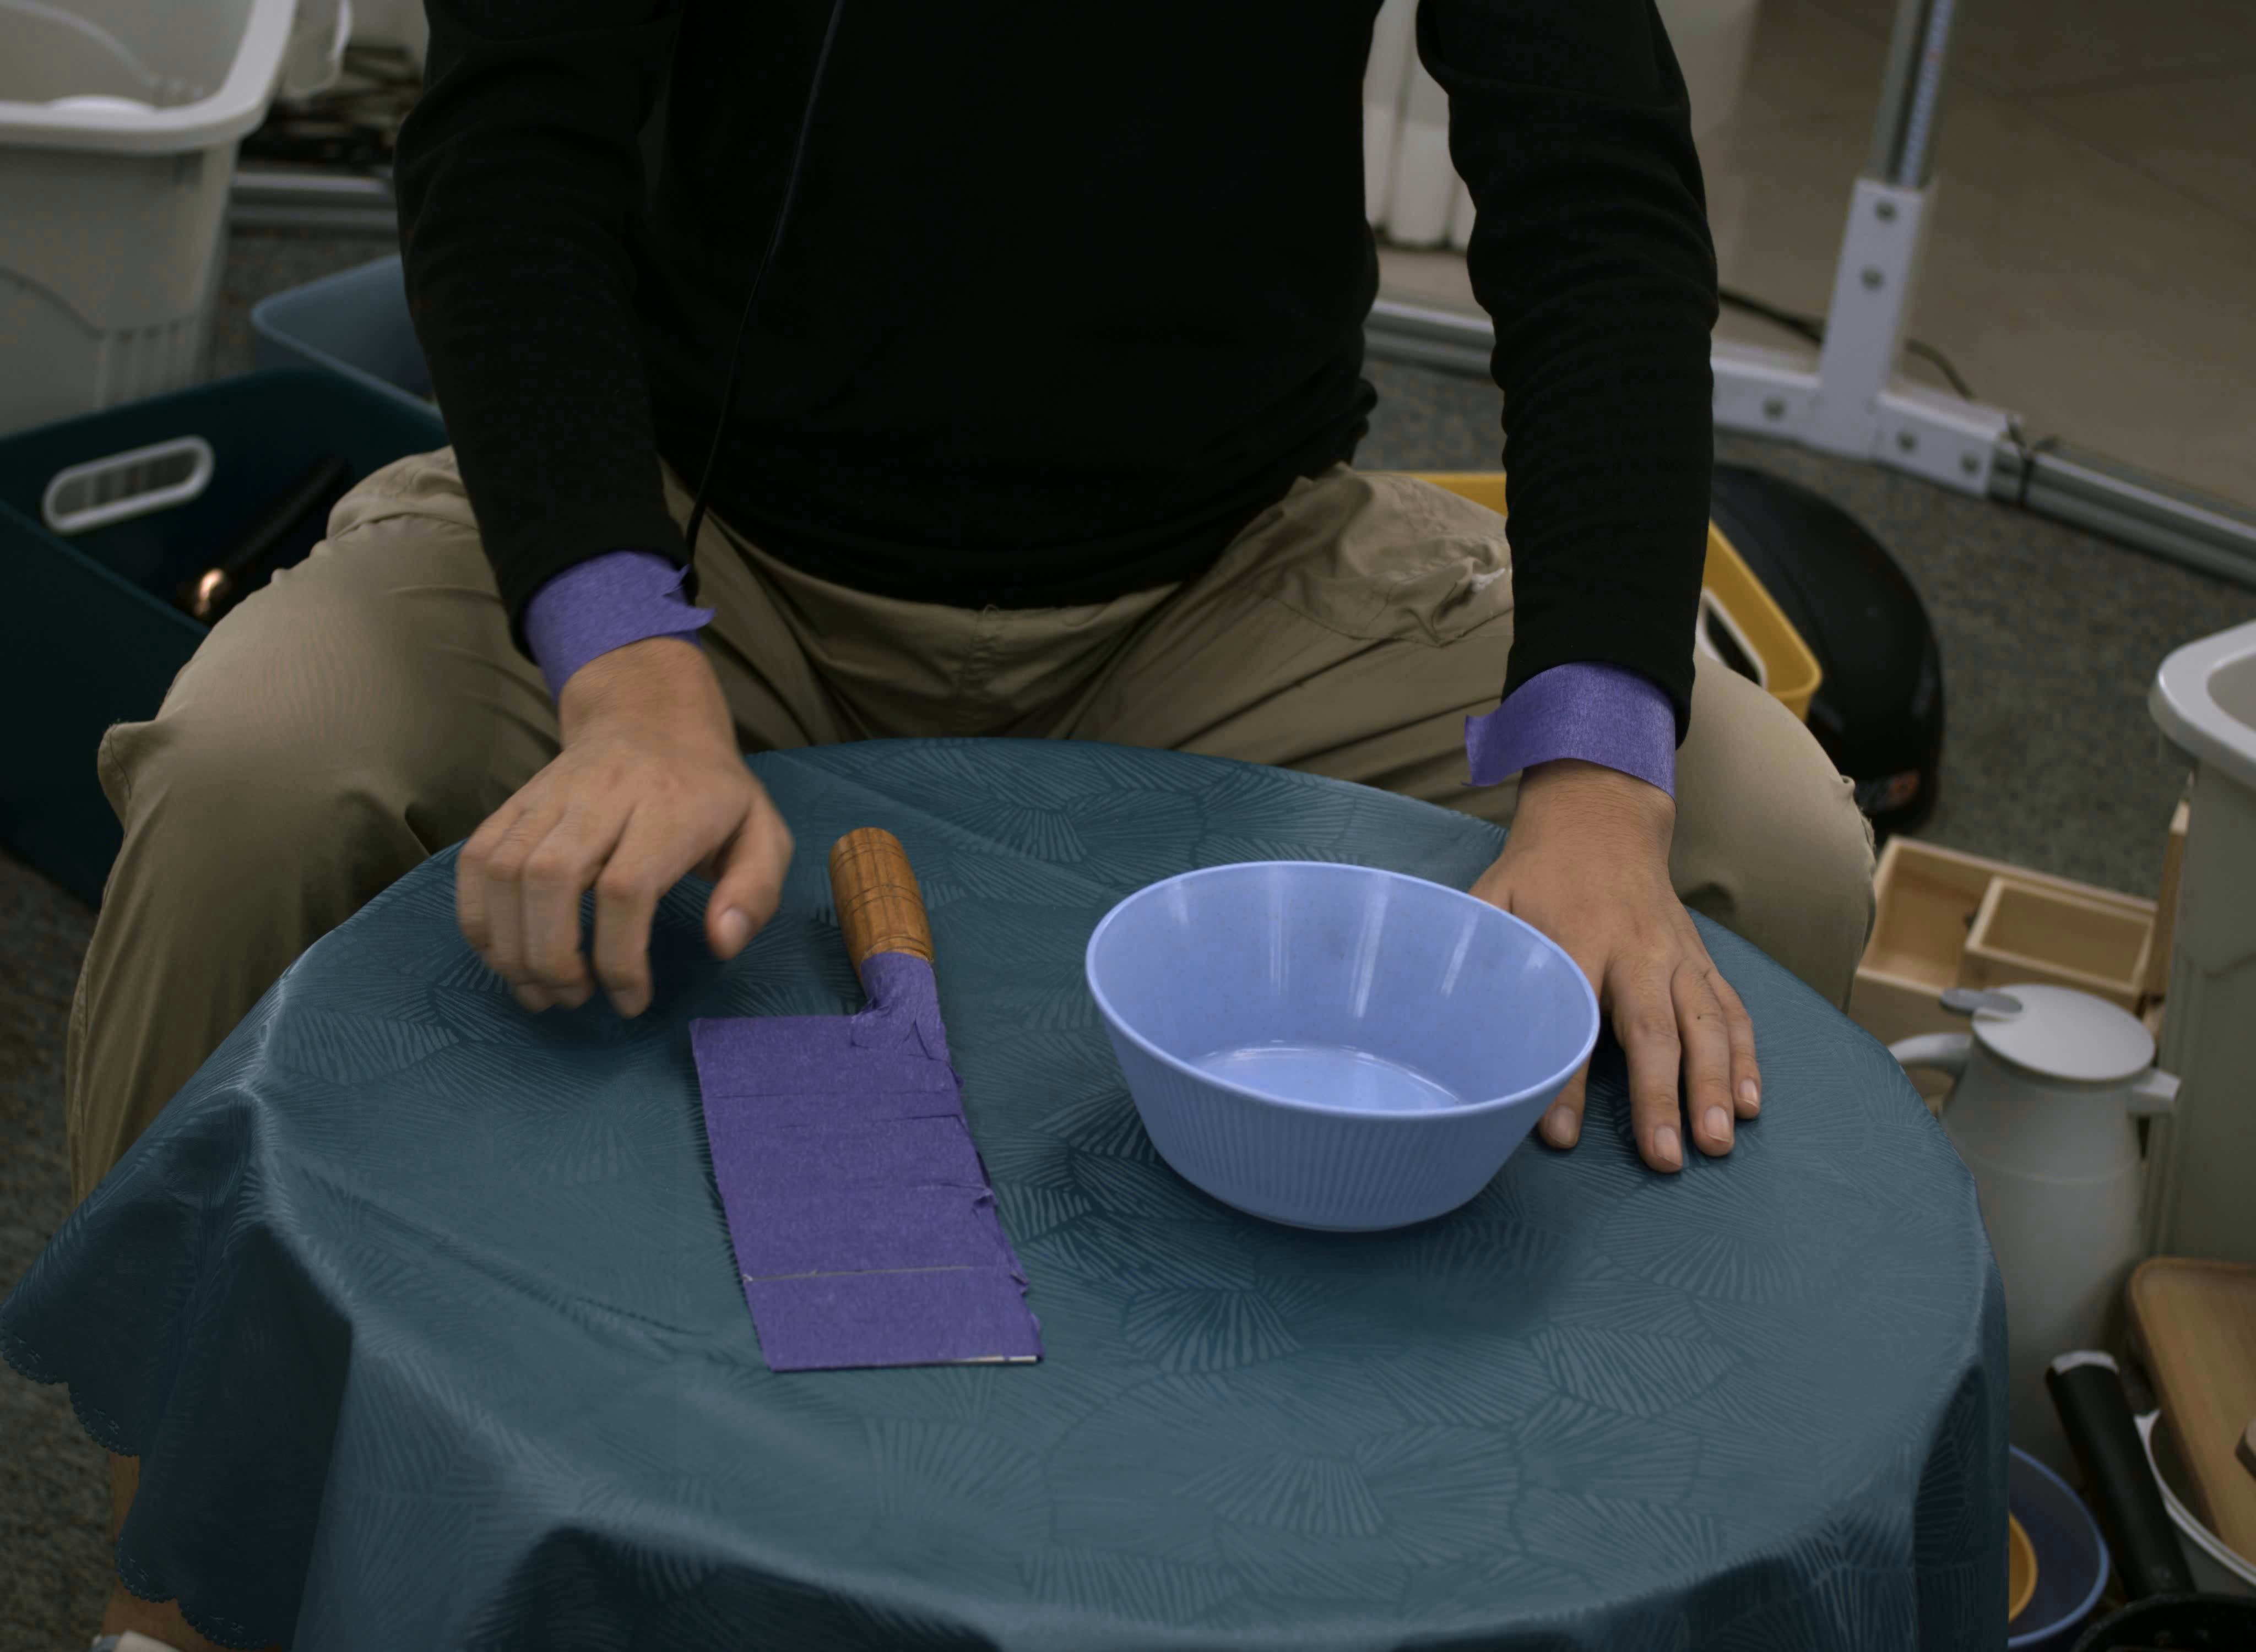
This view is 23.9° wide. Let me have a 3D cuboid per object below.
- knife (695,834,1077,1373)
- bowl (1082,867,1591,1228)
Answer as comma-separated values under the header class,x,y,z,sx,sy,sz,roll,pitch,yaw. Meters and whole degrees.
class,x,y,z,sx,sy,sz,roll,pitch,yaw
knife,-0.097,0.090,1.821,0.103,0.032,0.318,0,28,-13
bowl,0.068,0.081,1.825,0.175,0.070,0.177,6,26,-3
